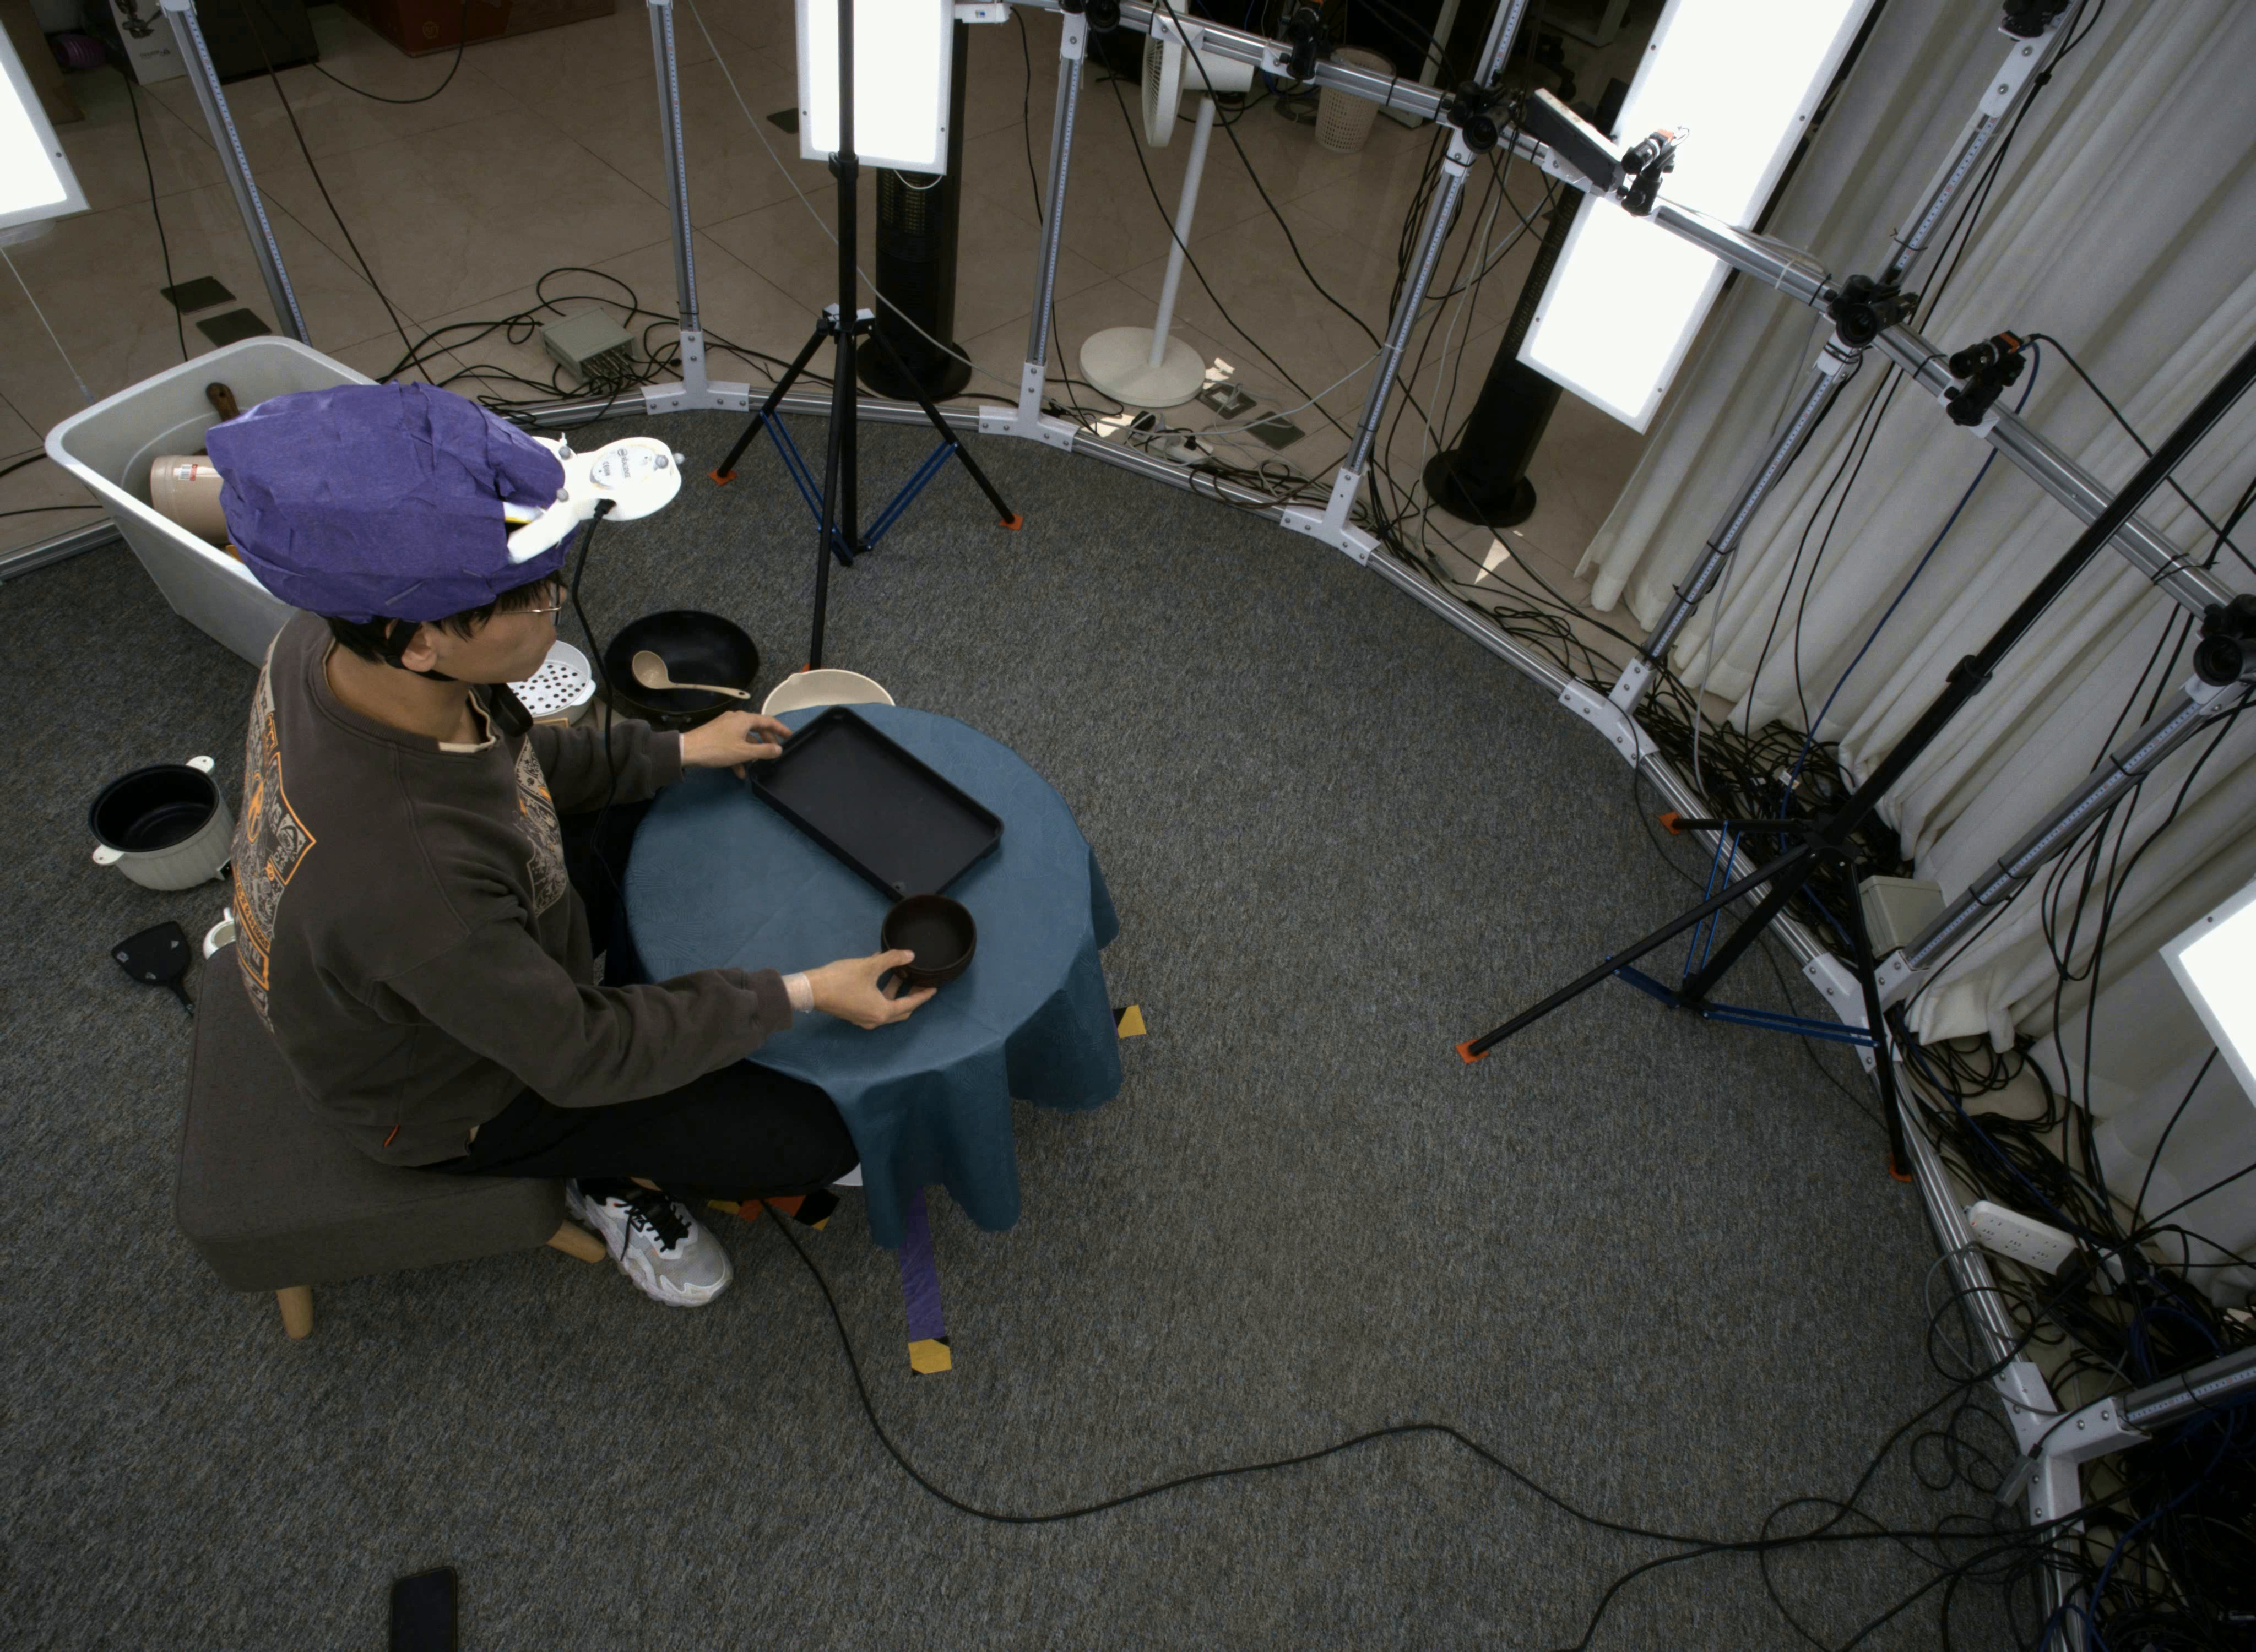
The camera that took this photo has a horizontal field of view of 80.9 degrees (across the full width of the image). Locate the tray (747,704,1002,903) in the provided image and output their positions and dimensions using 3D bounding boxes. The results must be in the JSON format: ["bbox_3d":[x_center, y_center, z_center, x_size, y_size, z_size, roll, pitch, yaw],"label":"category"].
[{"bbox_3d":[-0.342,-0.029,1.757,0.312,0.038,0.184,34,55,11],"label":"tray"}]

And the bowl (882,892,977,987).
[{"bbox_3d":[-0.248,0.148,1.626,0.117,0.071,0.116,6,52,-7],"label":"bowl"}]
